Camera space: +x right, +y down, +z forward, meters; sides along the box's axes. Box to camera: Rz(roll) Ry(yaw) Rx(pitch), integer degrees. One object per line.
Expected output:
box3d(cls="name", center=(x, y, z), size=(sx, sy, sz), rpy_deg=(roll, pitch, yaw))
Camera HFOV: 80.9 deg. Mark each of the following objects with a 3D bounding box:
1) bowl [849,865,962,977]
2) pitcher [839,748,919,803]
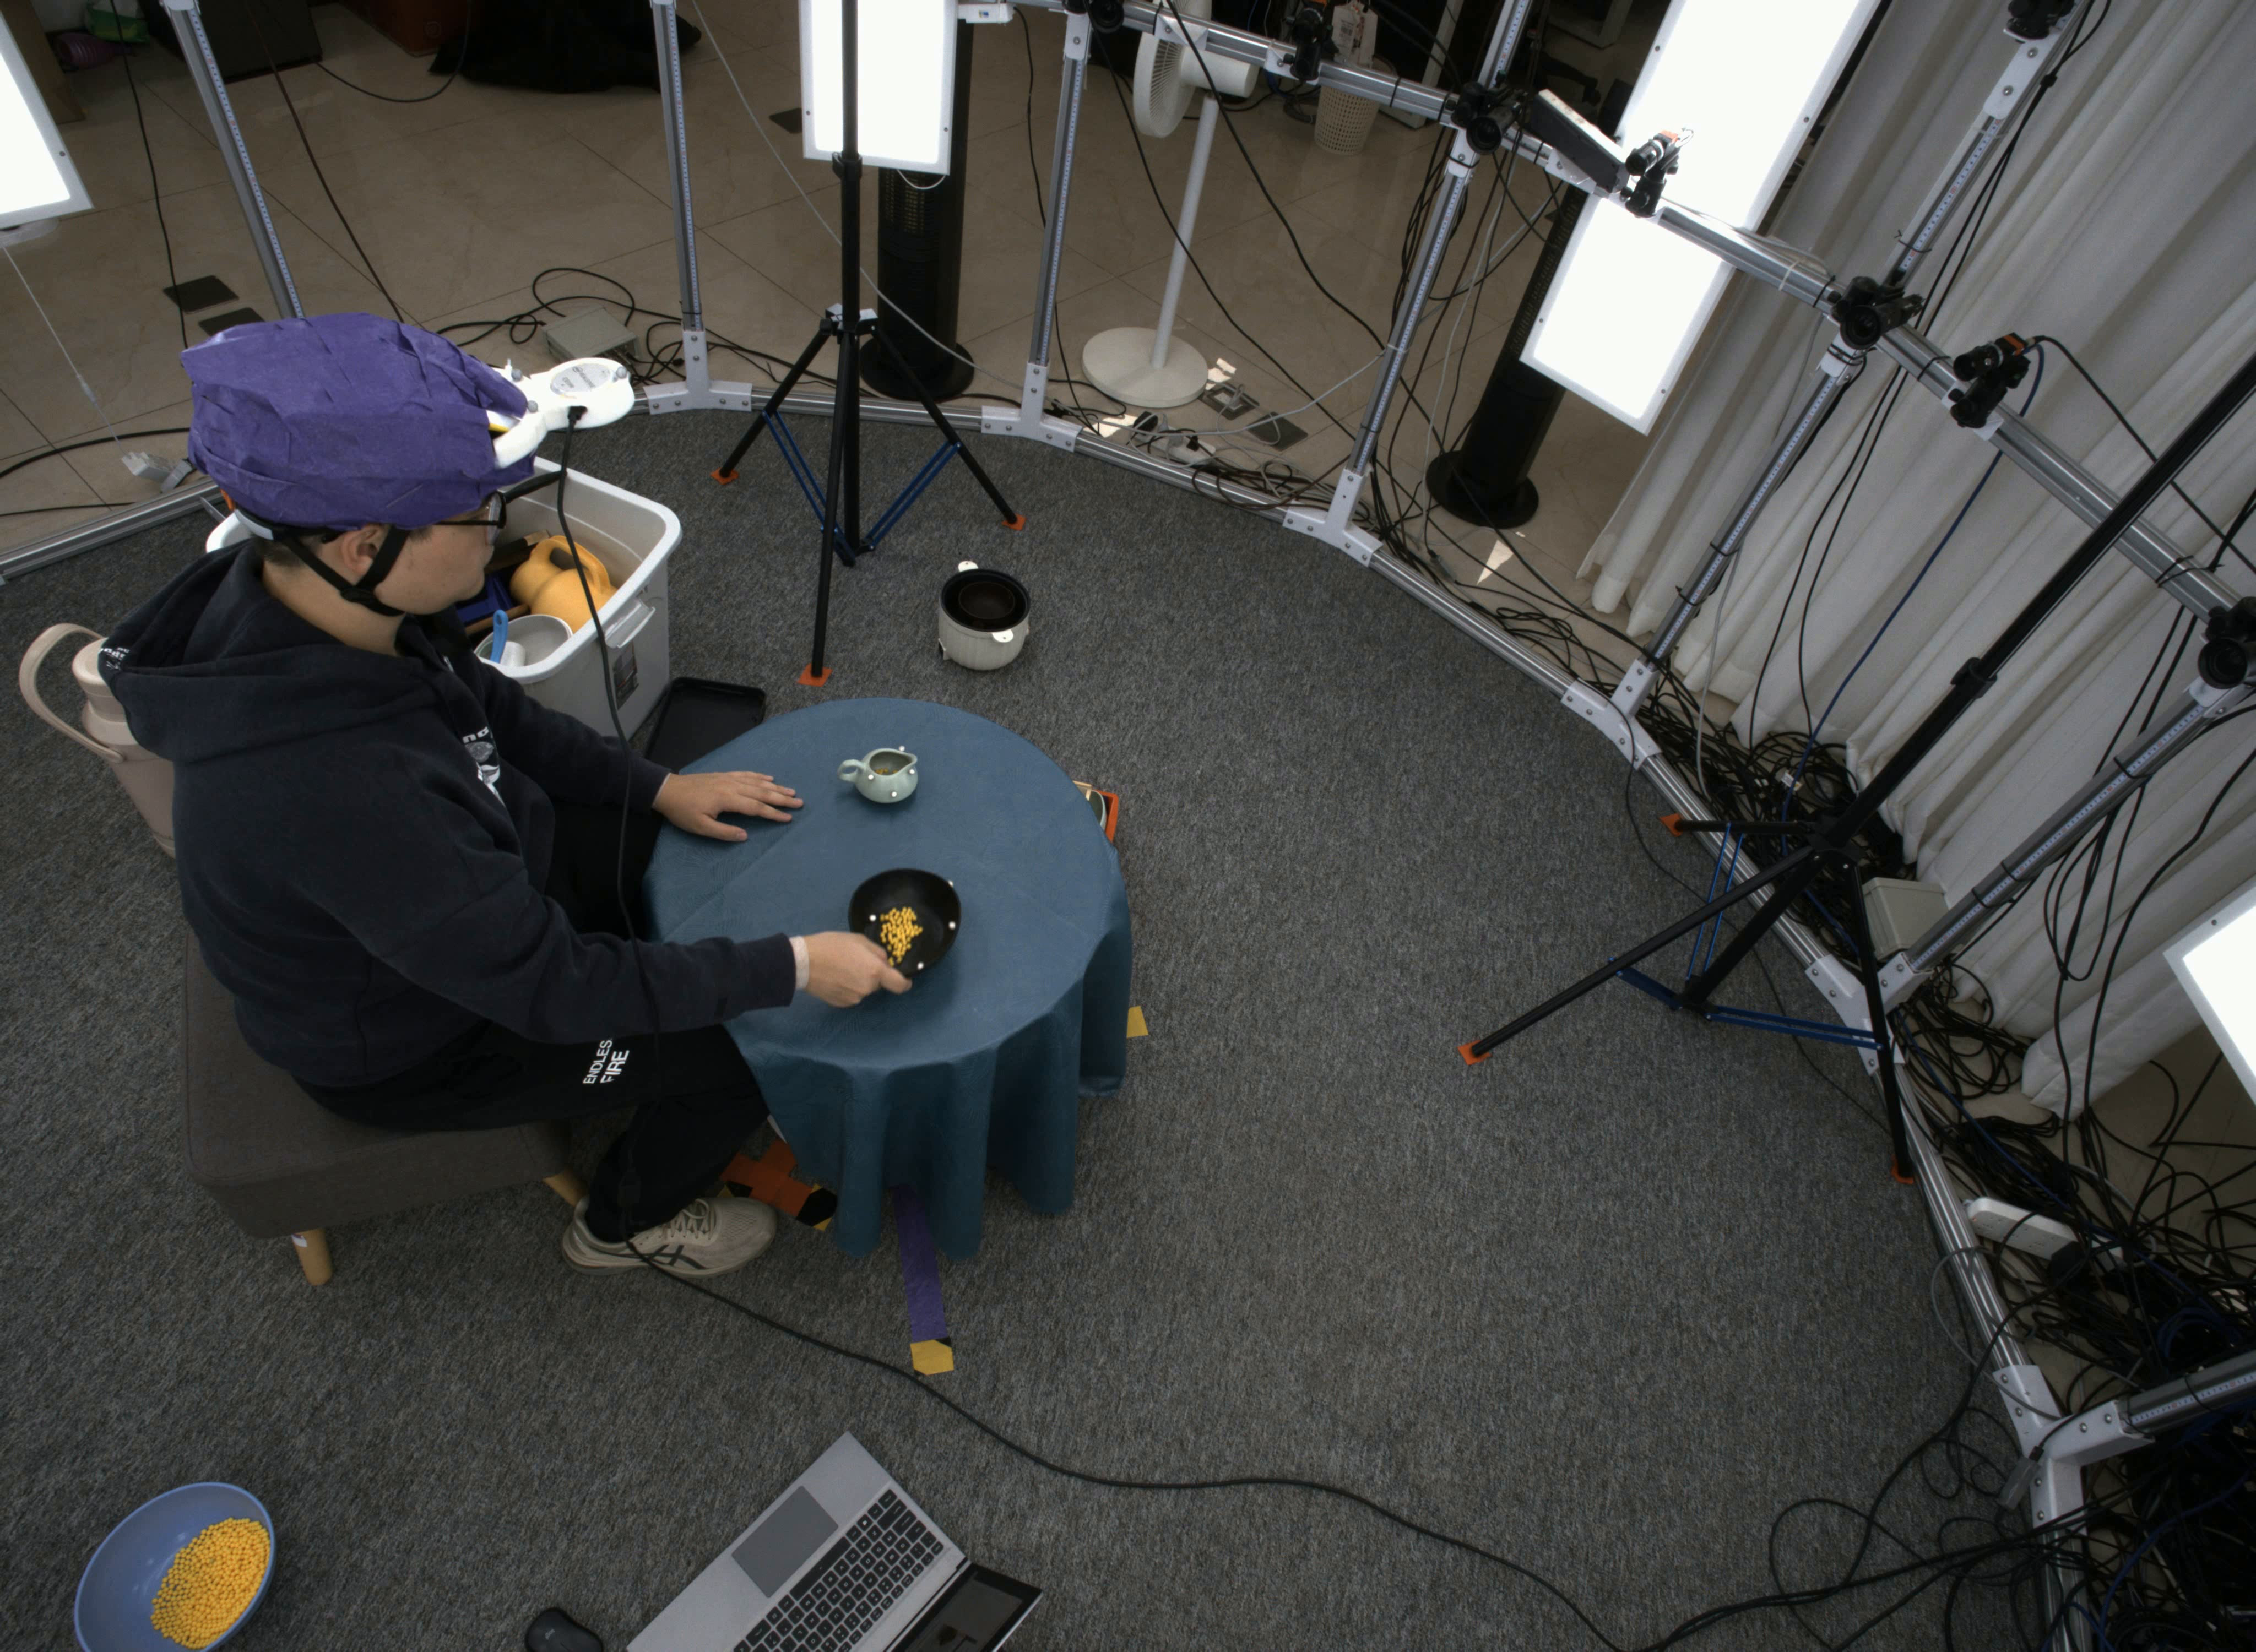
box3d(cls="bowl", center=(-0.274, 0.125, 1.607), size=(0.137, 0.068, 0.166), rpy_deg=(0, 45, -10))
box3d(cls="pitcher", center=(-0.337, -0.071, 1.759), size=(0.108, 0.062, 0.084), rpy_deg=(-8, 54, -16))
